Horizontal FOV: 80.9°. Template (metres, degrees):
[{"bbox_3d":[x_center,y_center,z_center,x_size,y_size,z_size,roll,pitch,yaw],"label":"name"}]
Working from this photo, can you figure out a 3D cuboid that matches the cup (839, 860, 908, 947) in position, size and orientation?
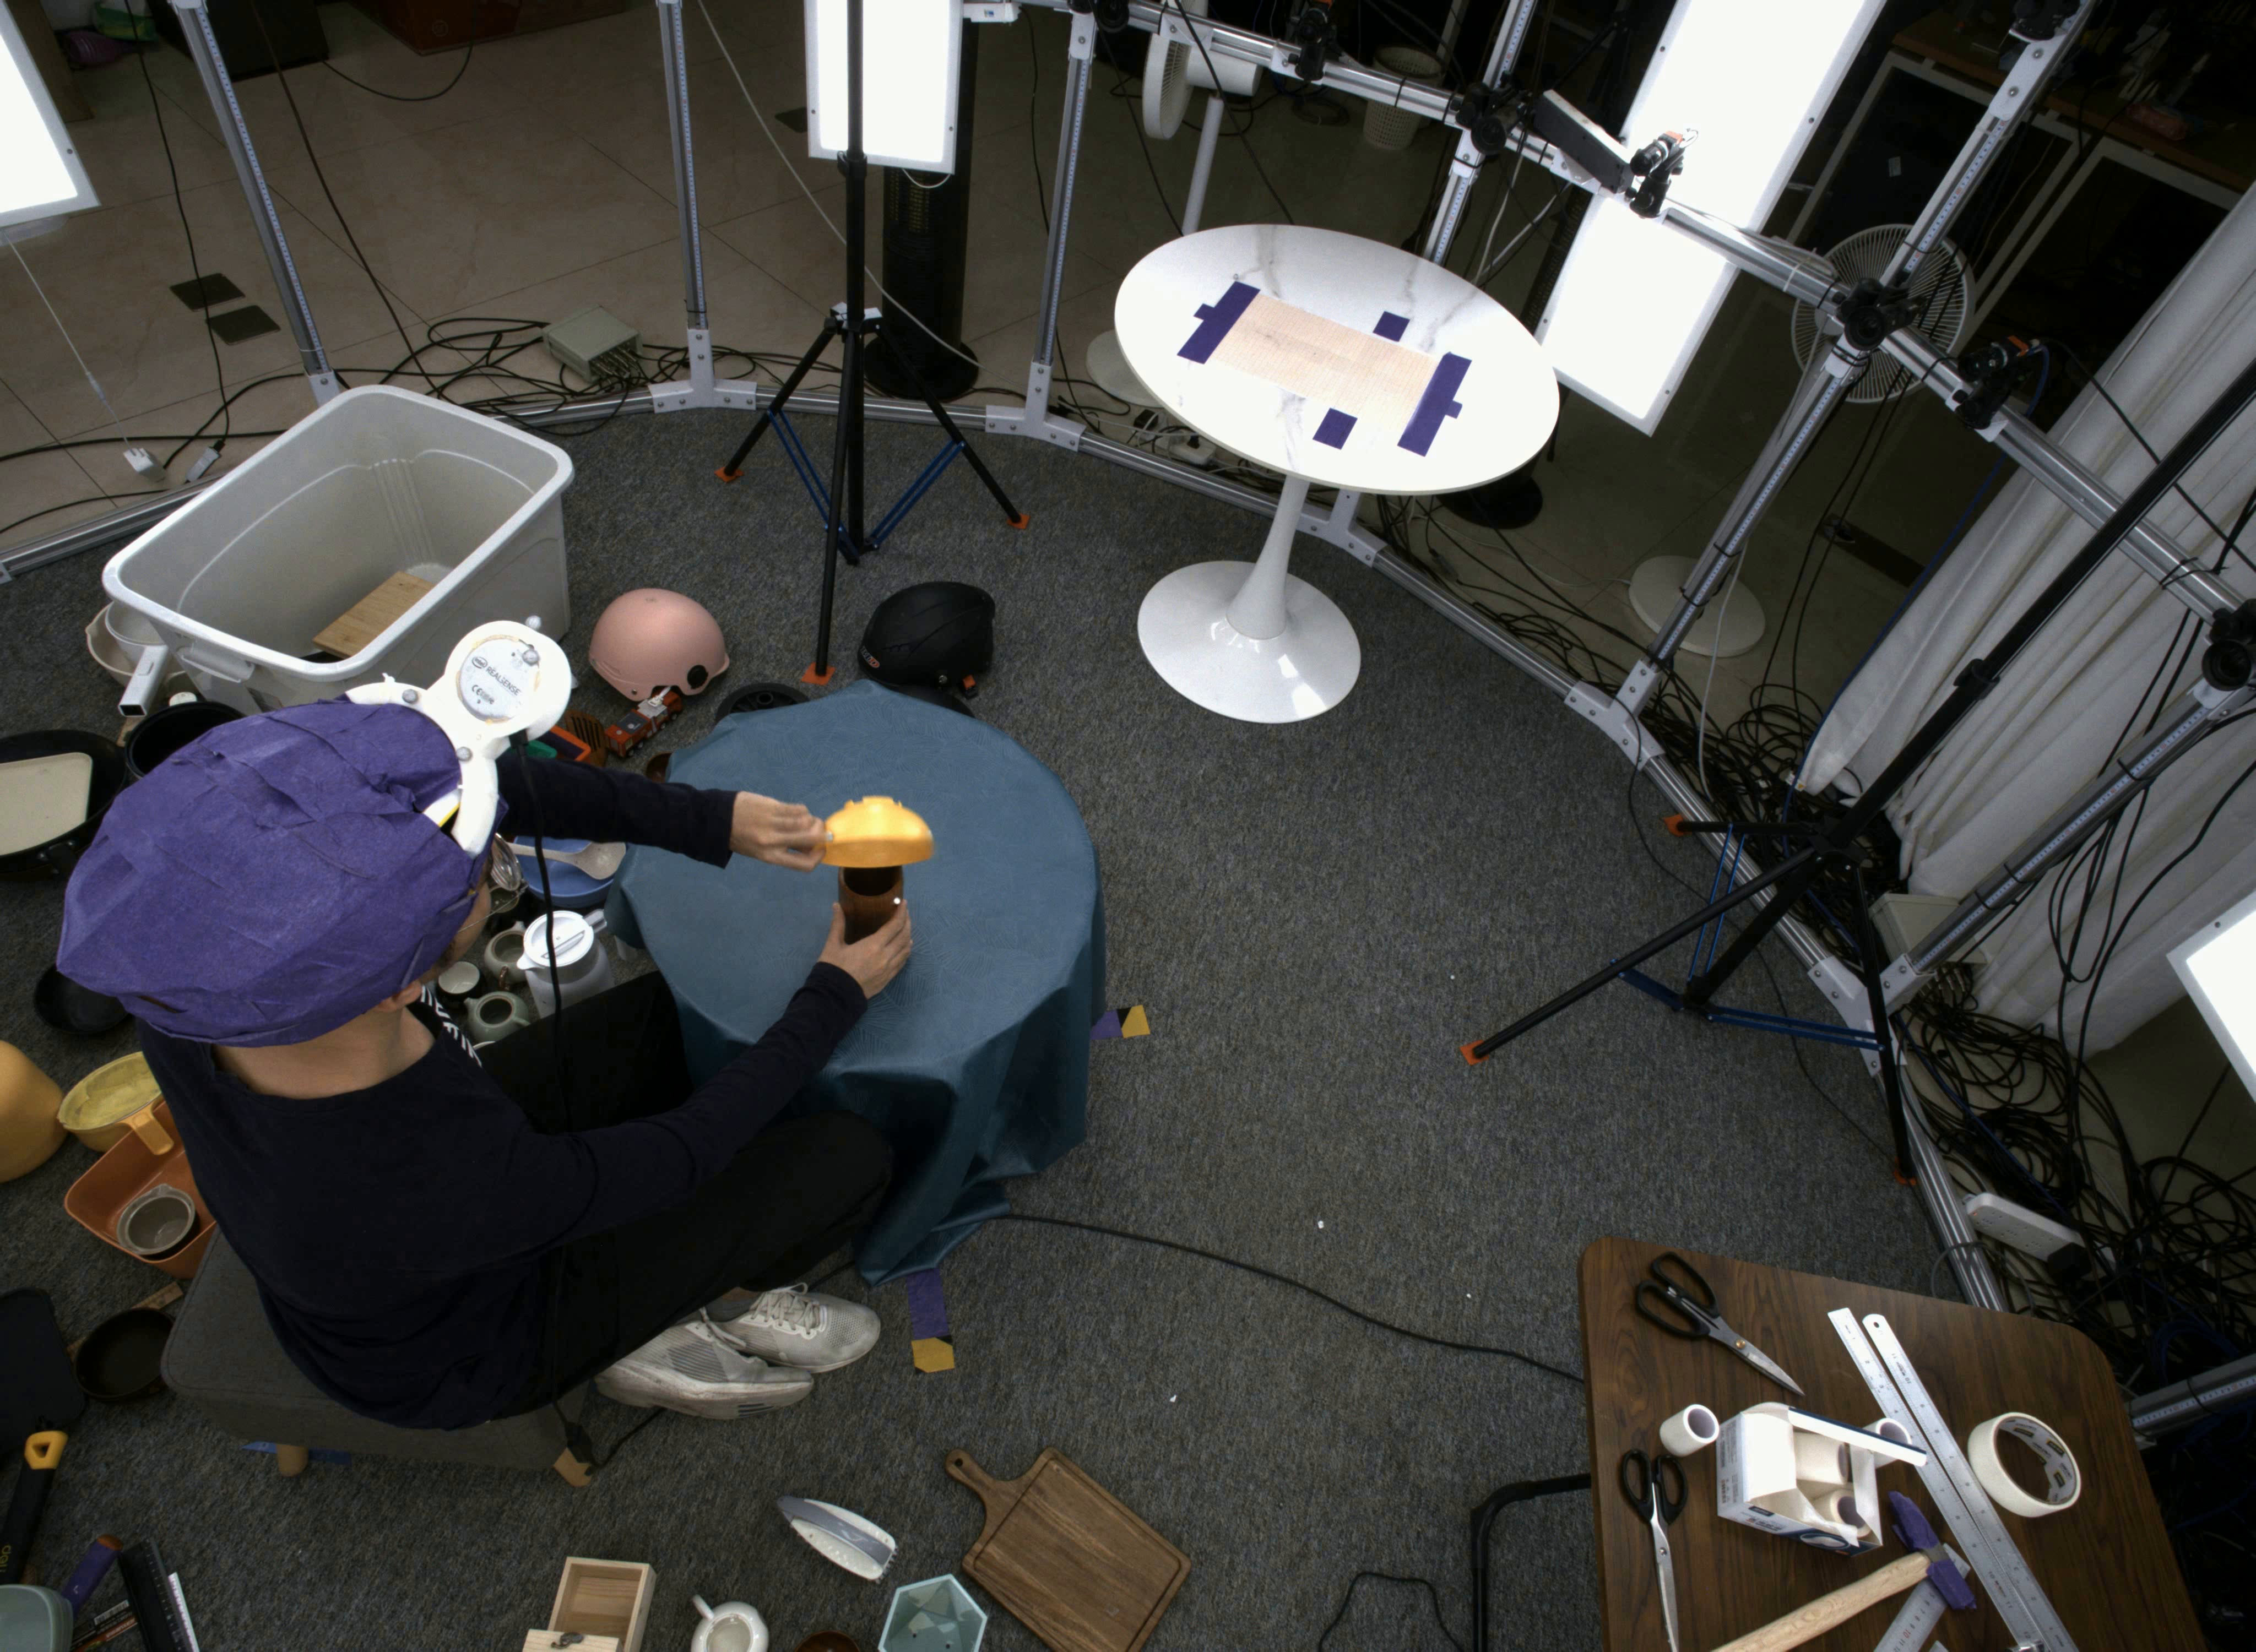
[{"bbox_3d":[-0.315,0.083,1.615,0.087,0.121,0.086,5,50,-4],"label":"cup"}]

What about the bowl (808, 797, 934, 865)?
[{"bbox_3d":[-0.296,0.002,1.501,0.145,0.145,0.060,1,79,-11],"label":"bowl"}]
